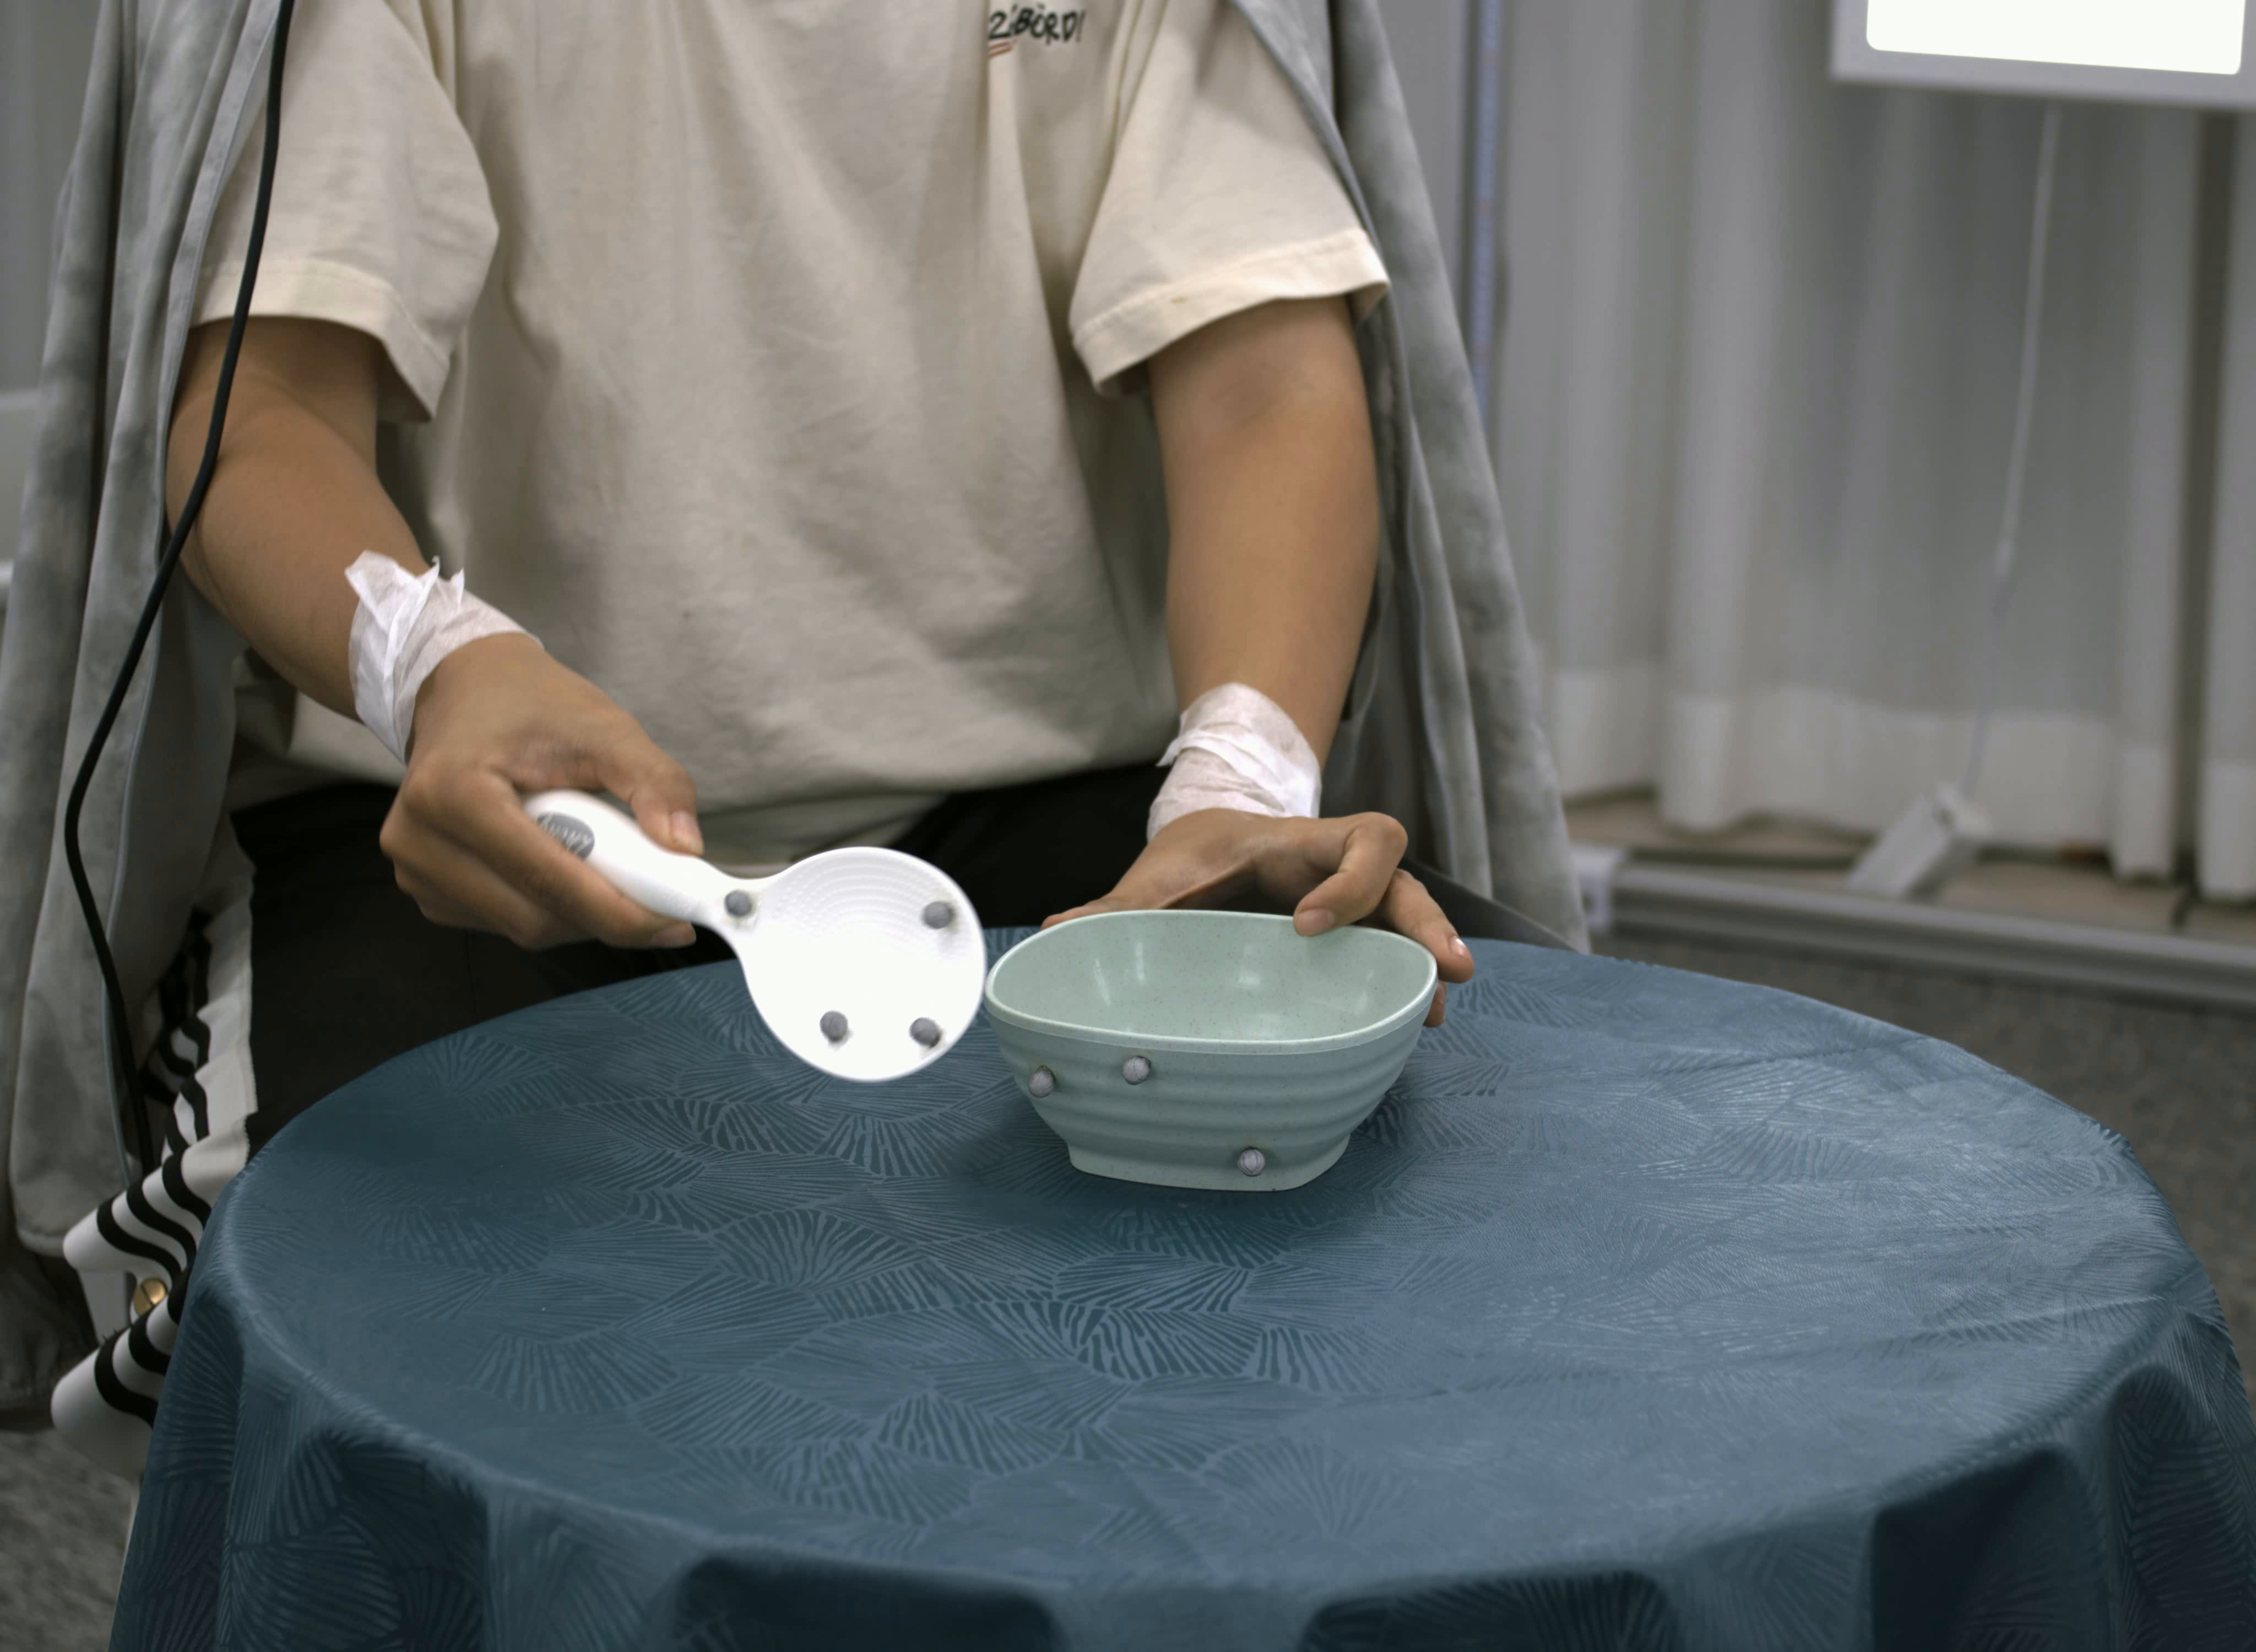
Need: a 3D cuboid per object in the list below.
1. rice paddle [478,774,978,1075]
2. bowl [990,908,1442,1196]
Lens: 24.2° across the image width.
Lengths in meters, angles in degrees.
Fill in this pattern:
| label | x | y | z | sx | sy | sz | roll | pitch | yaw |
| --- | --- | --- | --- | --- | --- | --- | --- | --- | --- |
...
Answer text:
| label | x | y | z | sx | sy | sz | roll | pitch | yaw |
| --- | --- | --- | --- | --- | --- | --- | --- | --- | --- |
| rice paddle | -0.120 | 0.023 | 1.588 | 0.202 | 0.069 | 0.030 | 20 | 1 | 40 |
| bowl | 0.028 | 0.074 | 1.661 | 0.151 | 0.059 | 0.150 | 0 | 17 | 1 |
